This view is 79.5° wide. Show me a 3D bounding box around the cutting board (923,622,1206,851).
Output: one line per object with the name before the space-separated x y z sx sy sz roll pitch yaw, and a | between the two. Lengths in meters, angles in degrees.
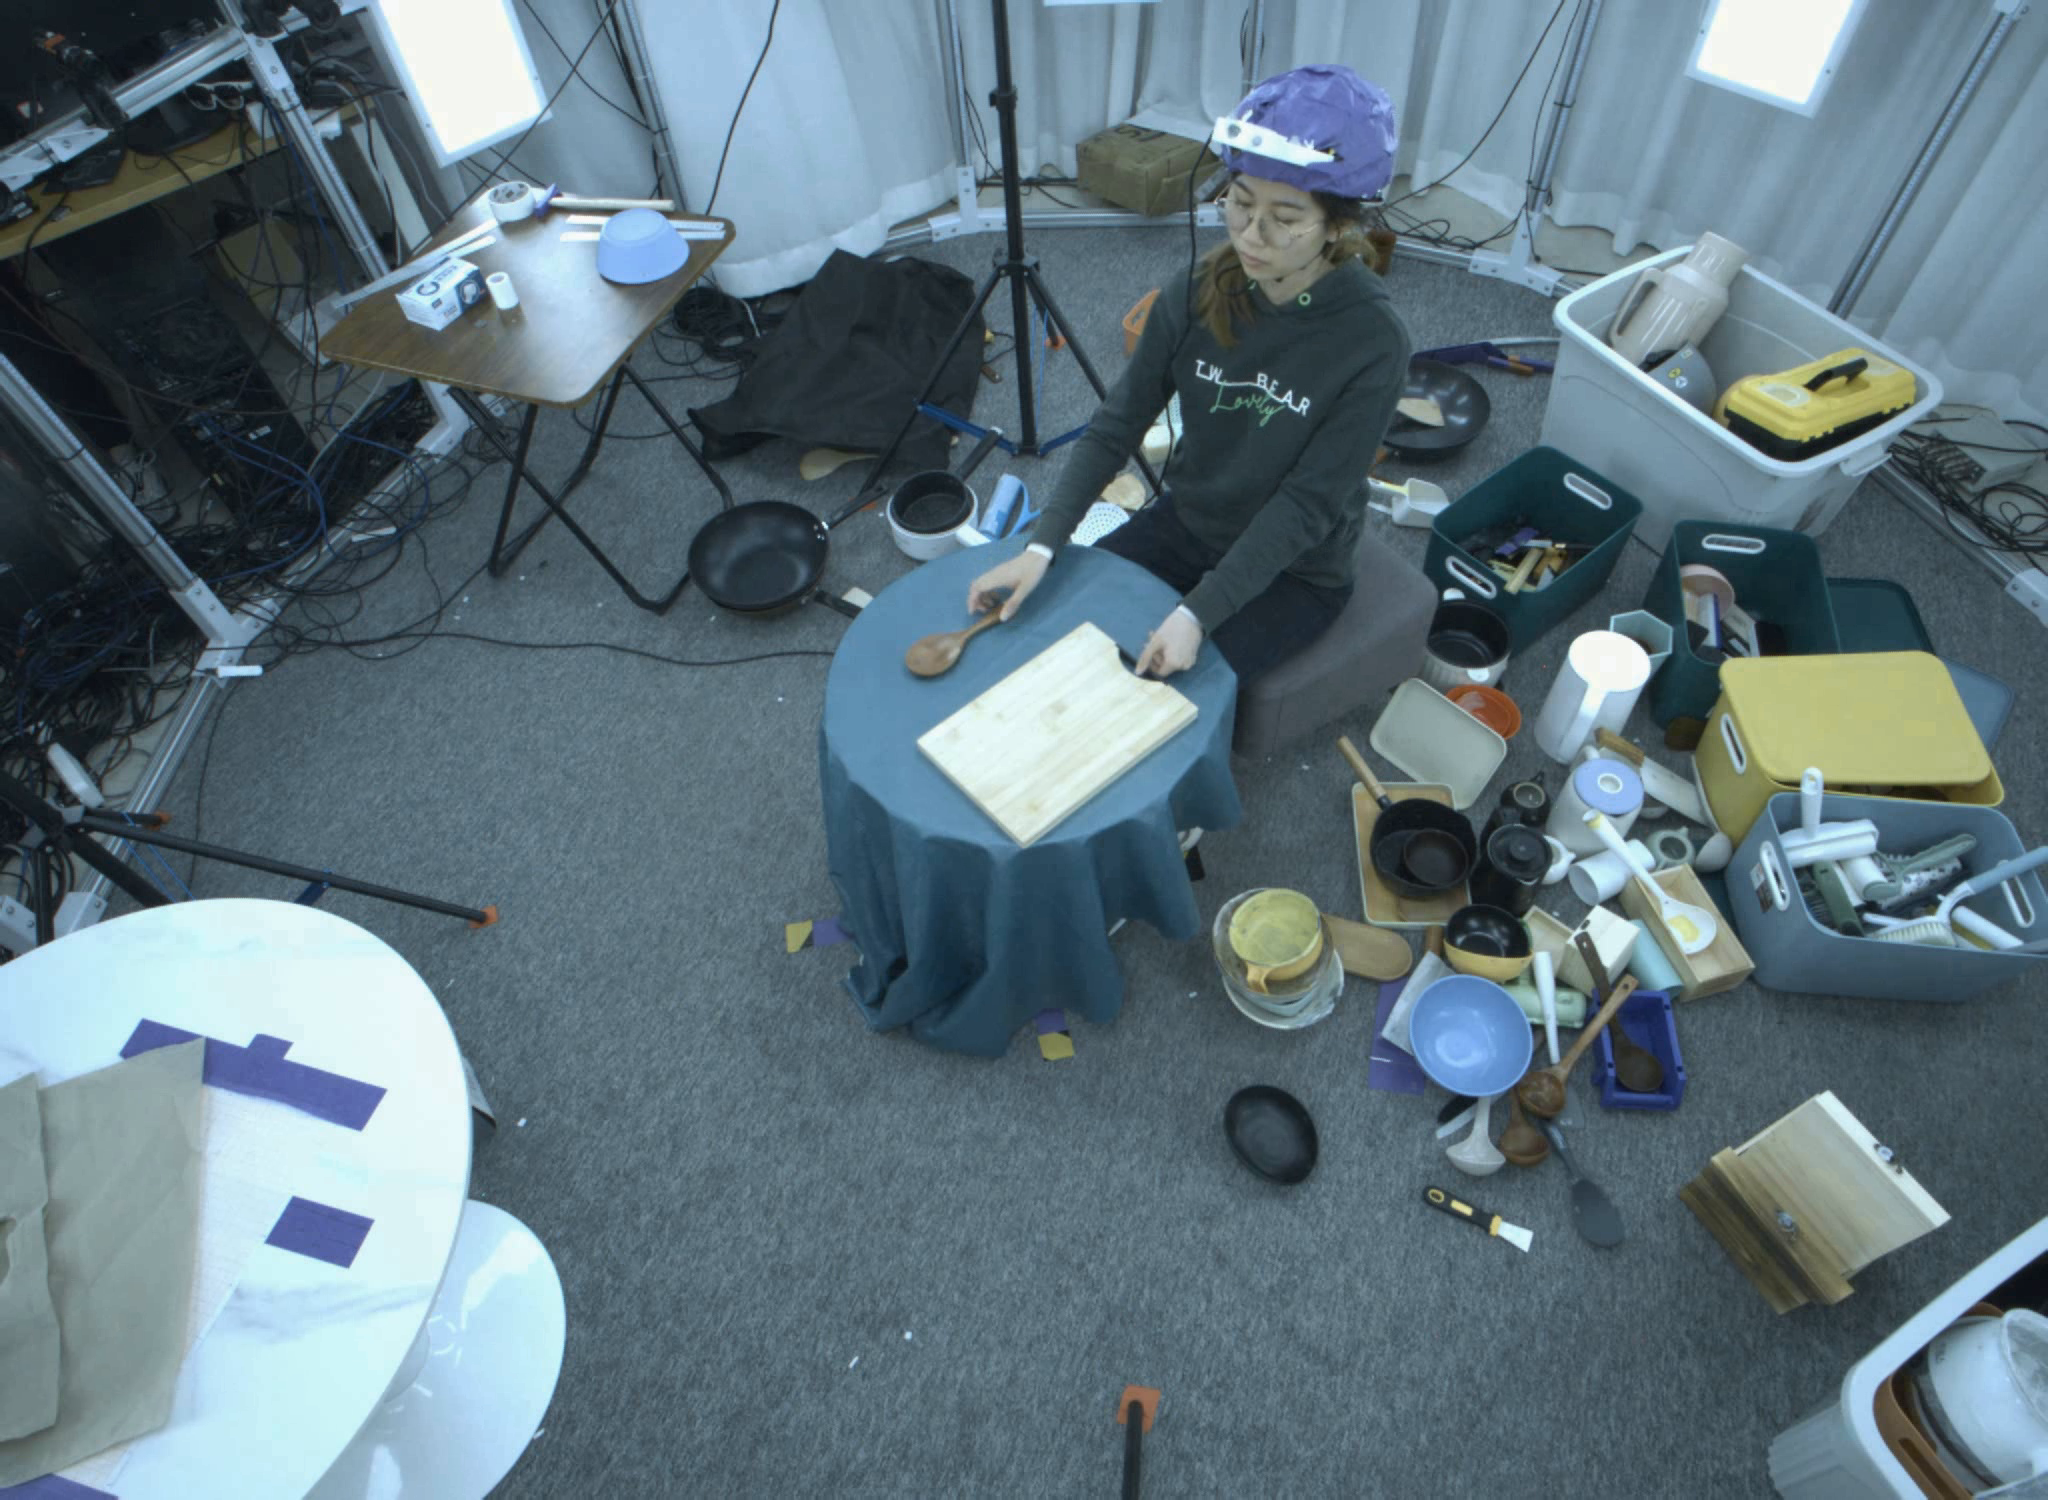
cutting board | 0.058 -0.030 1.808 0.351 0.024 0.246 -37 62 -22

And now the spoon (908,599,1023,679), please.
spoon | -0.088 -0.174 1.912 0.217 0.017 0.074 -36 61 -21
